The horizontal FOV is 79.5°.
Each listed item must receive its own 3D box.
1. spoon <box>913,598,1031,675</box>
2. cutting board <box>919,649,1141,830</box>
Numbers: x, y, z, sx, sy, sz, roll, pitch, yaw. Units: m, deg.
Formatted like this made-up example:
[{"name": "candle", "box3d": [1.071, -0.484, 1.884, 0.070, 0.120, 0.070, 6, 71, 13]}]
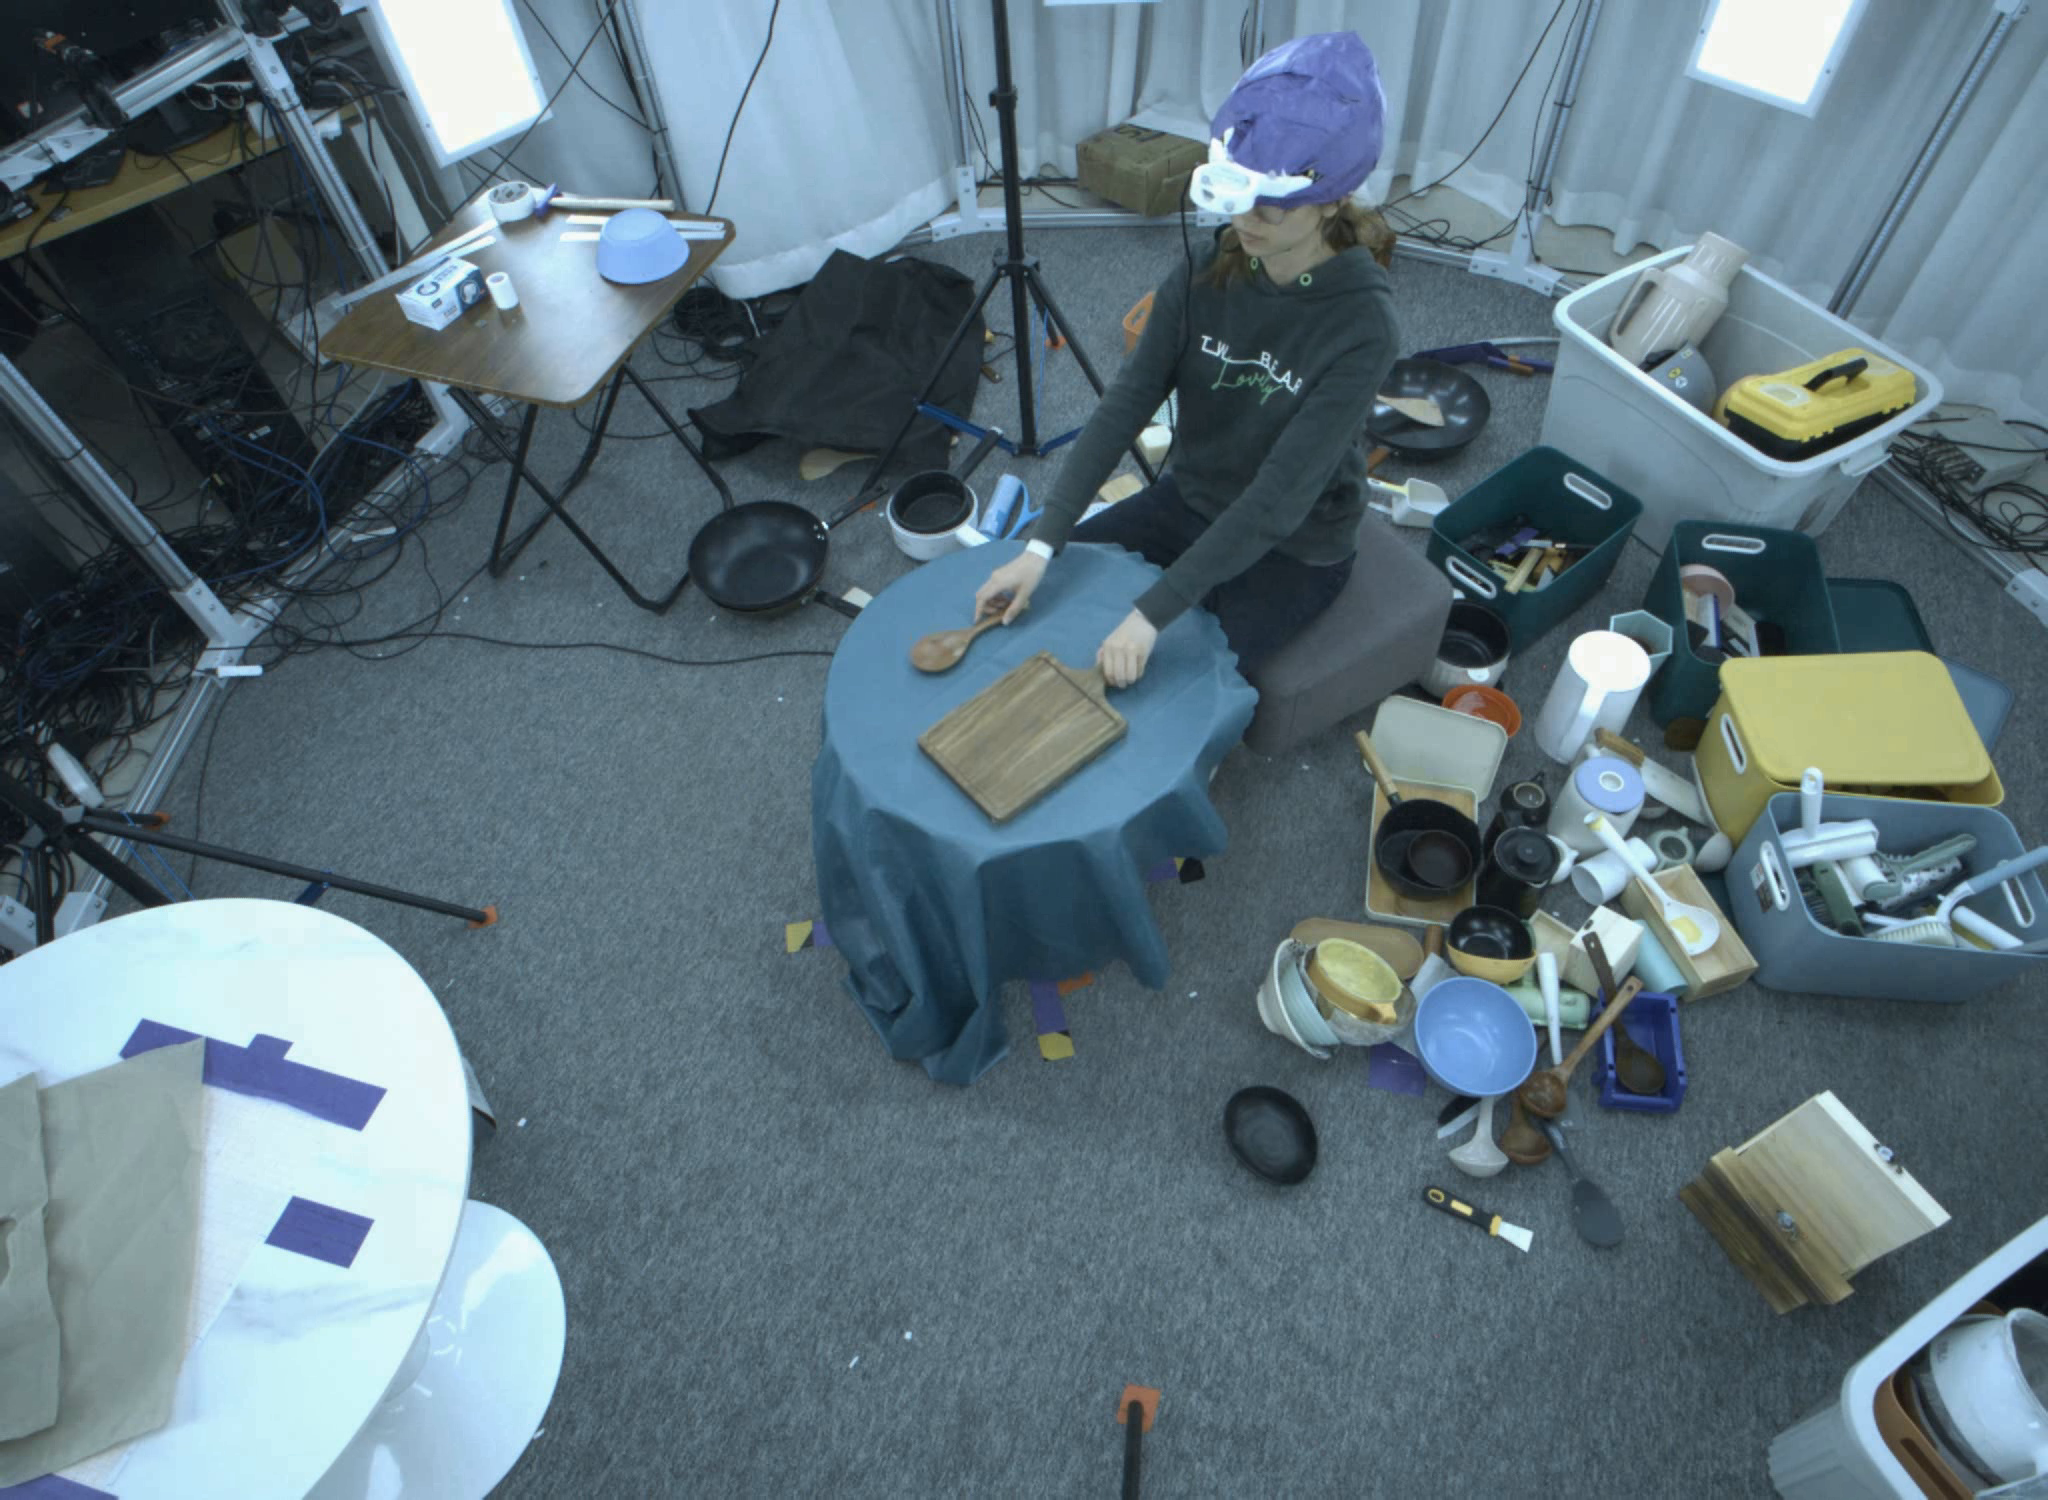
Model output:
[{"name": "spoon", "box3d": [-0.078, -0.178, 1.914, 0.217, 0.017, 0.074, -33, 59, -19]}, {"name": "cutting board", "box3d": [0.039, -0.045, 1.812, 0.354, 0.023, 0.197, -36, 60, -20]}]
